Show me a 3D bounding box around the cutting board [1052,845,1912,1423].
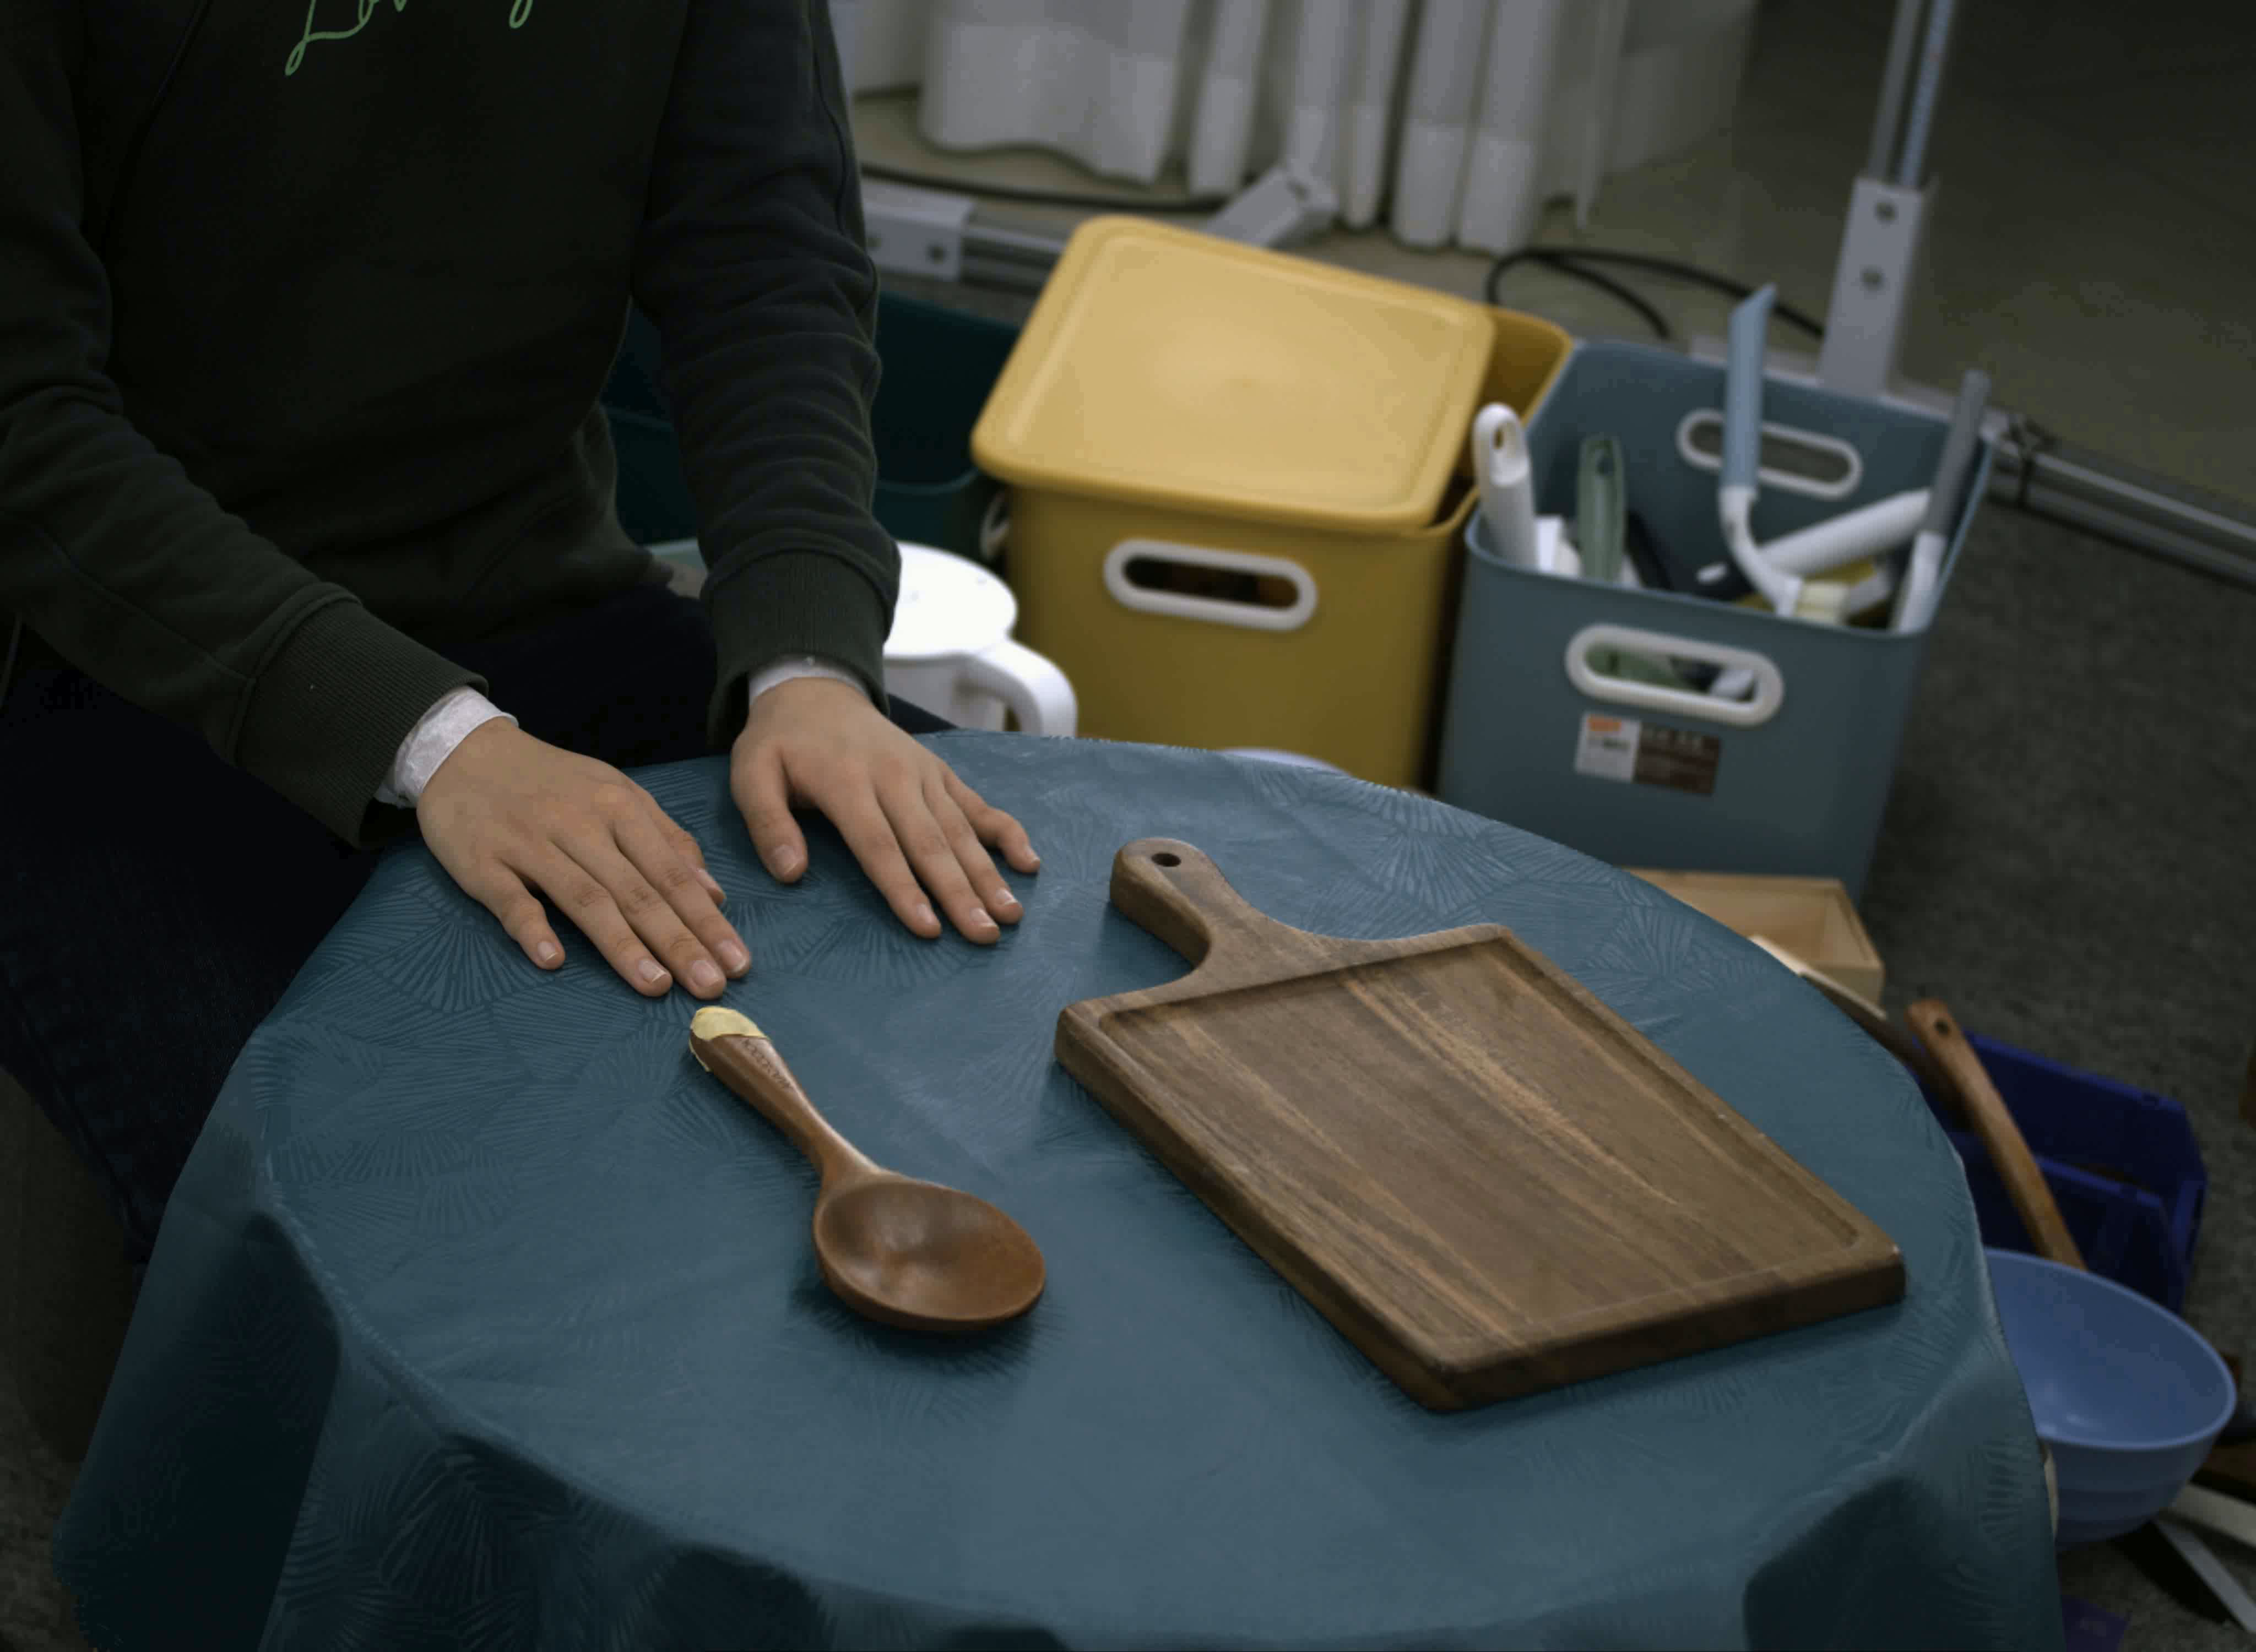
[{"bbox_3d":[0.093,0.092,1.866,0.200,0.023,0.355,-11,31,-29],"label":"cutting board"}]

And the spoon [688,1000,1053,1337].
[{"bbox_3d":[-0.094,0.115,1.777,0.075,0.017,0.218,-10,32,-27],"label":"spoon"}]
